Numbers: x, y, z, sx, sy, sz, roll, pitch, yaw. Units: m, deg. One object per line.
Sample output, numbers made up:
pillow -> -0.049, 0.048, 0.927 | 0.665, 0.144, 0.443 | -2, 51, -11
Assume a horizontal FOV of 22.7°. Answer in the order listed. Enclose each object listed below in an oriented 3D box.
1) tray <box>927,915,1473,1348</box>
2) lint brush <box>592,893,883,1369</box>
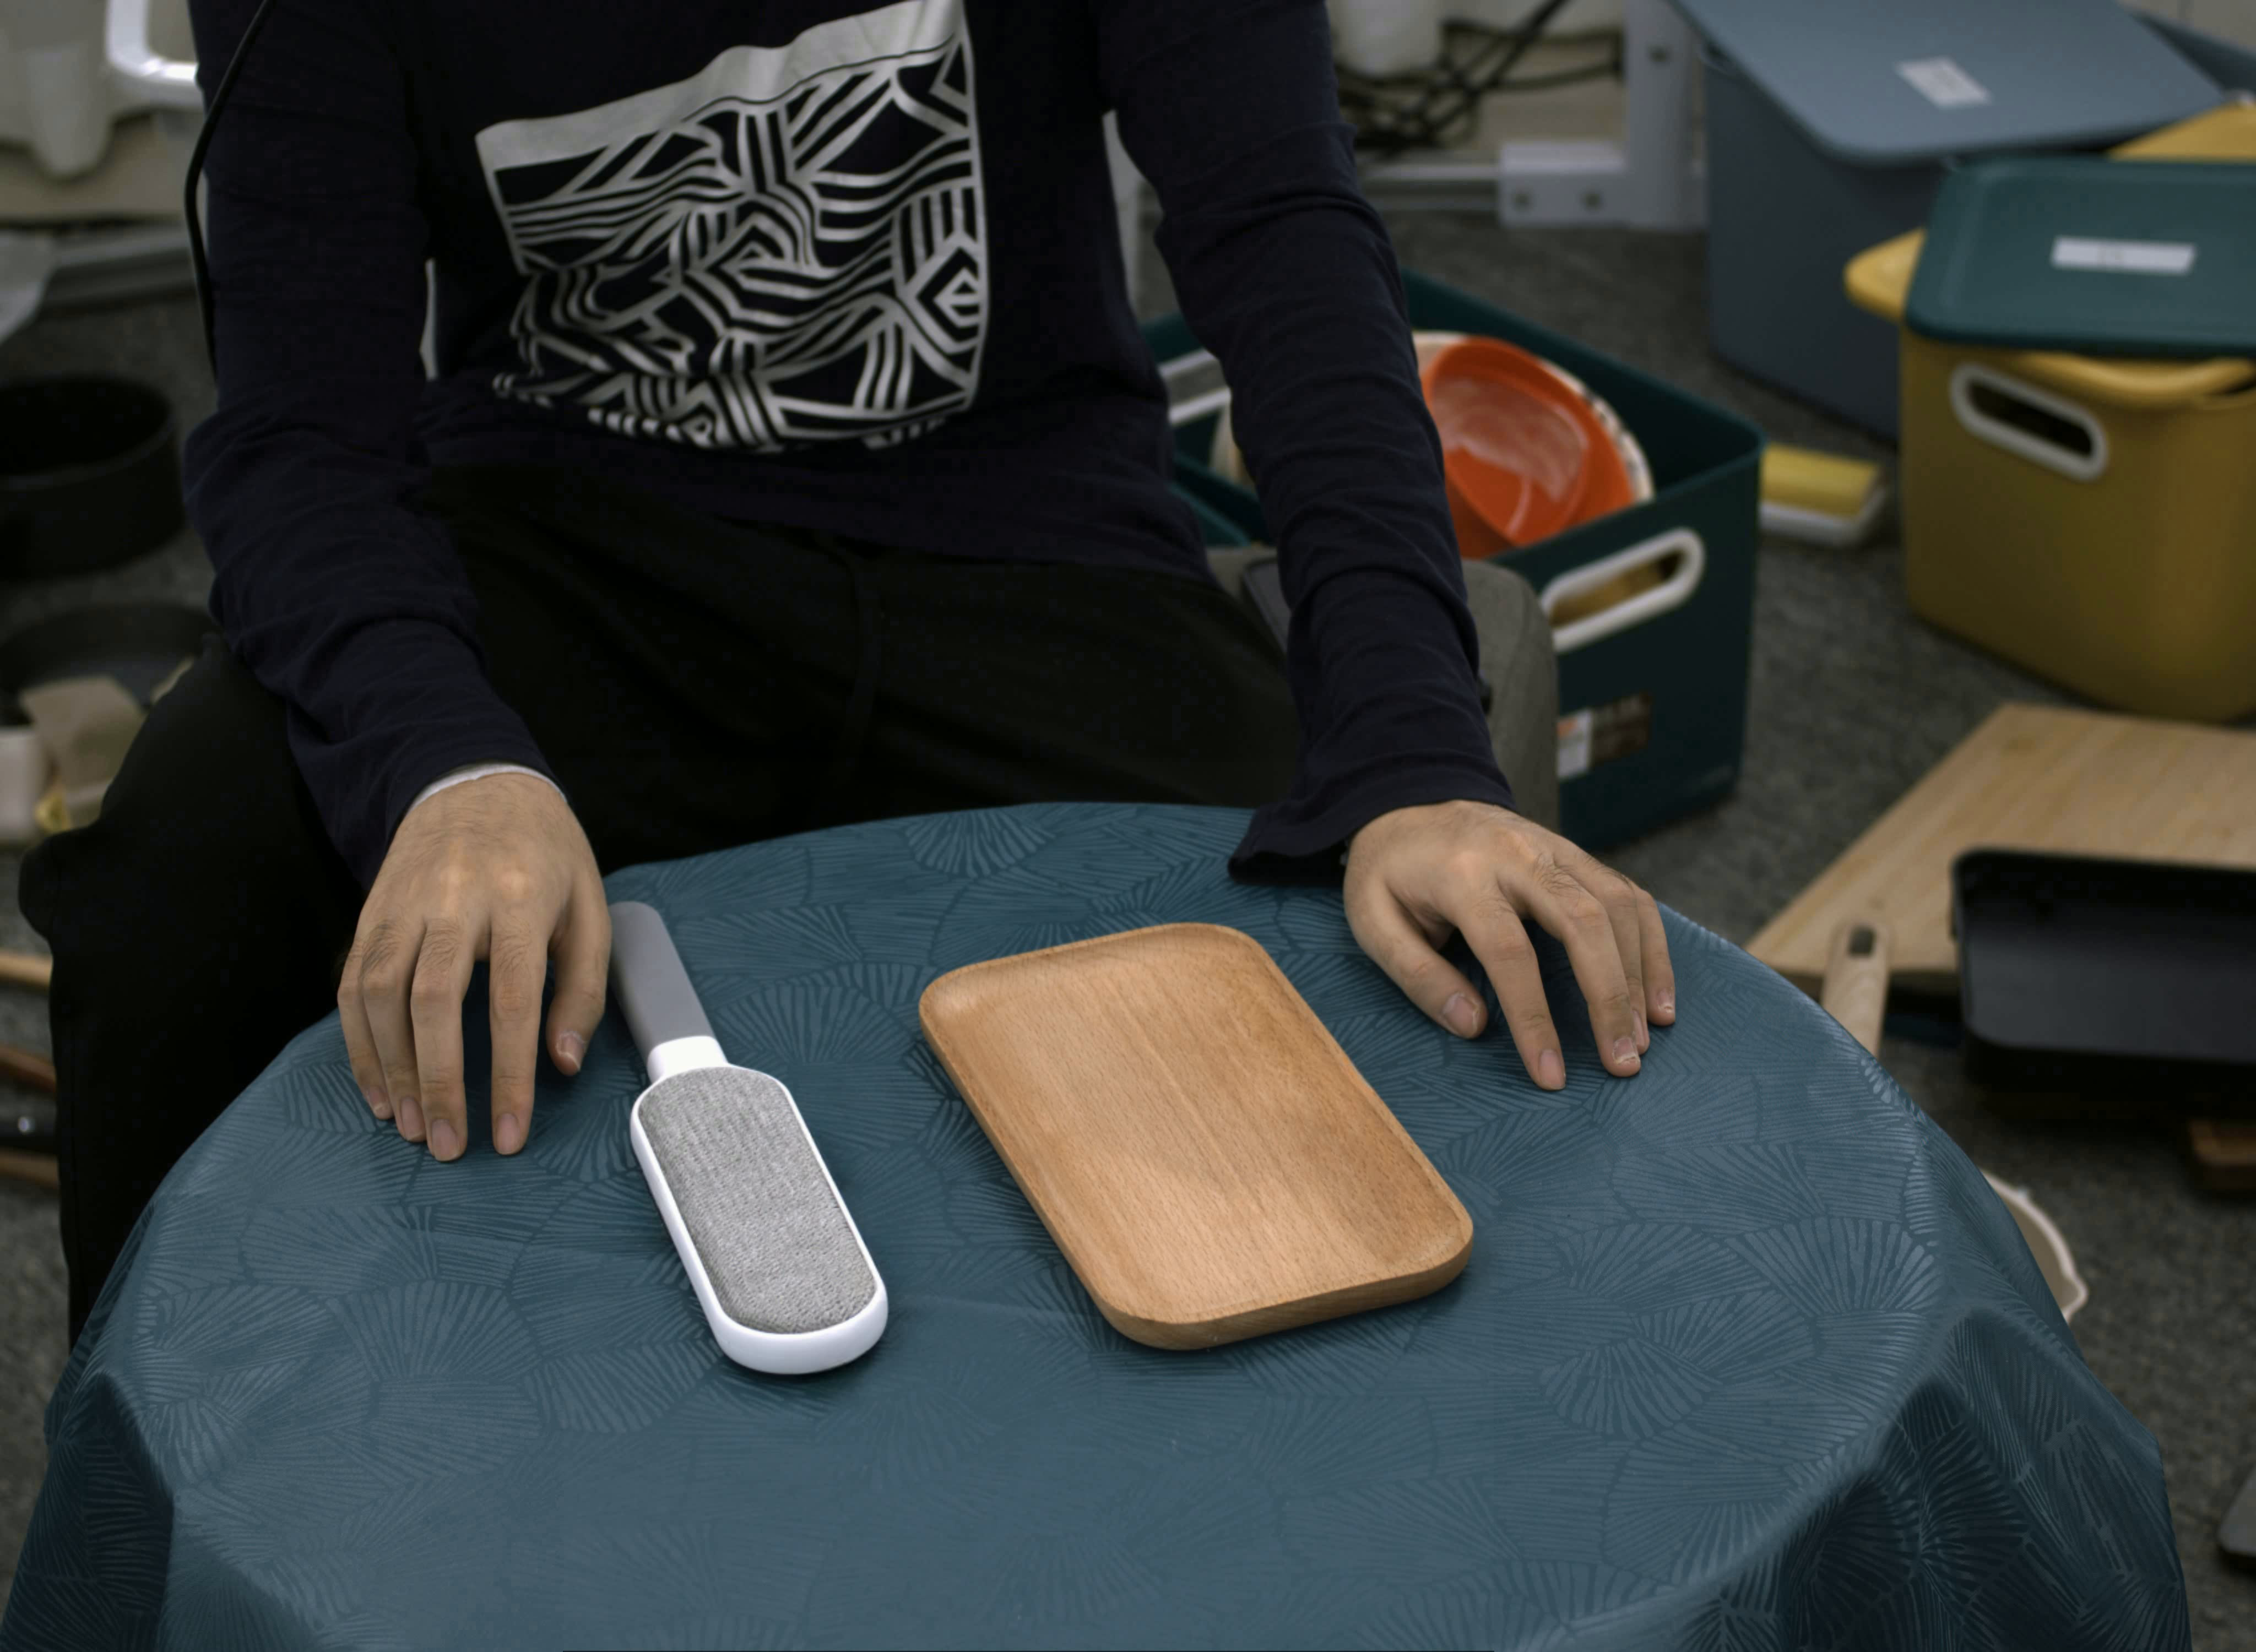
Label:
tray -> 0.020, 0.099, 1.884 | 0.130, 0.022, 0.253 | -8, 27, -15
lint brush -> -0.139, 0.097, 1.892 | 0.060, 0.021, 0.312 | -14, 29, -11
